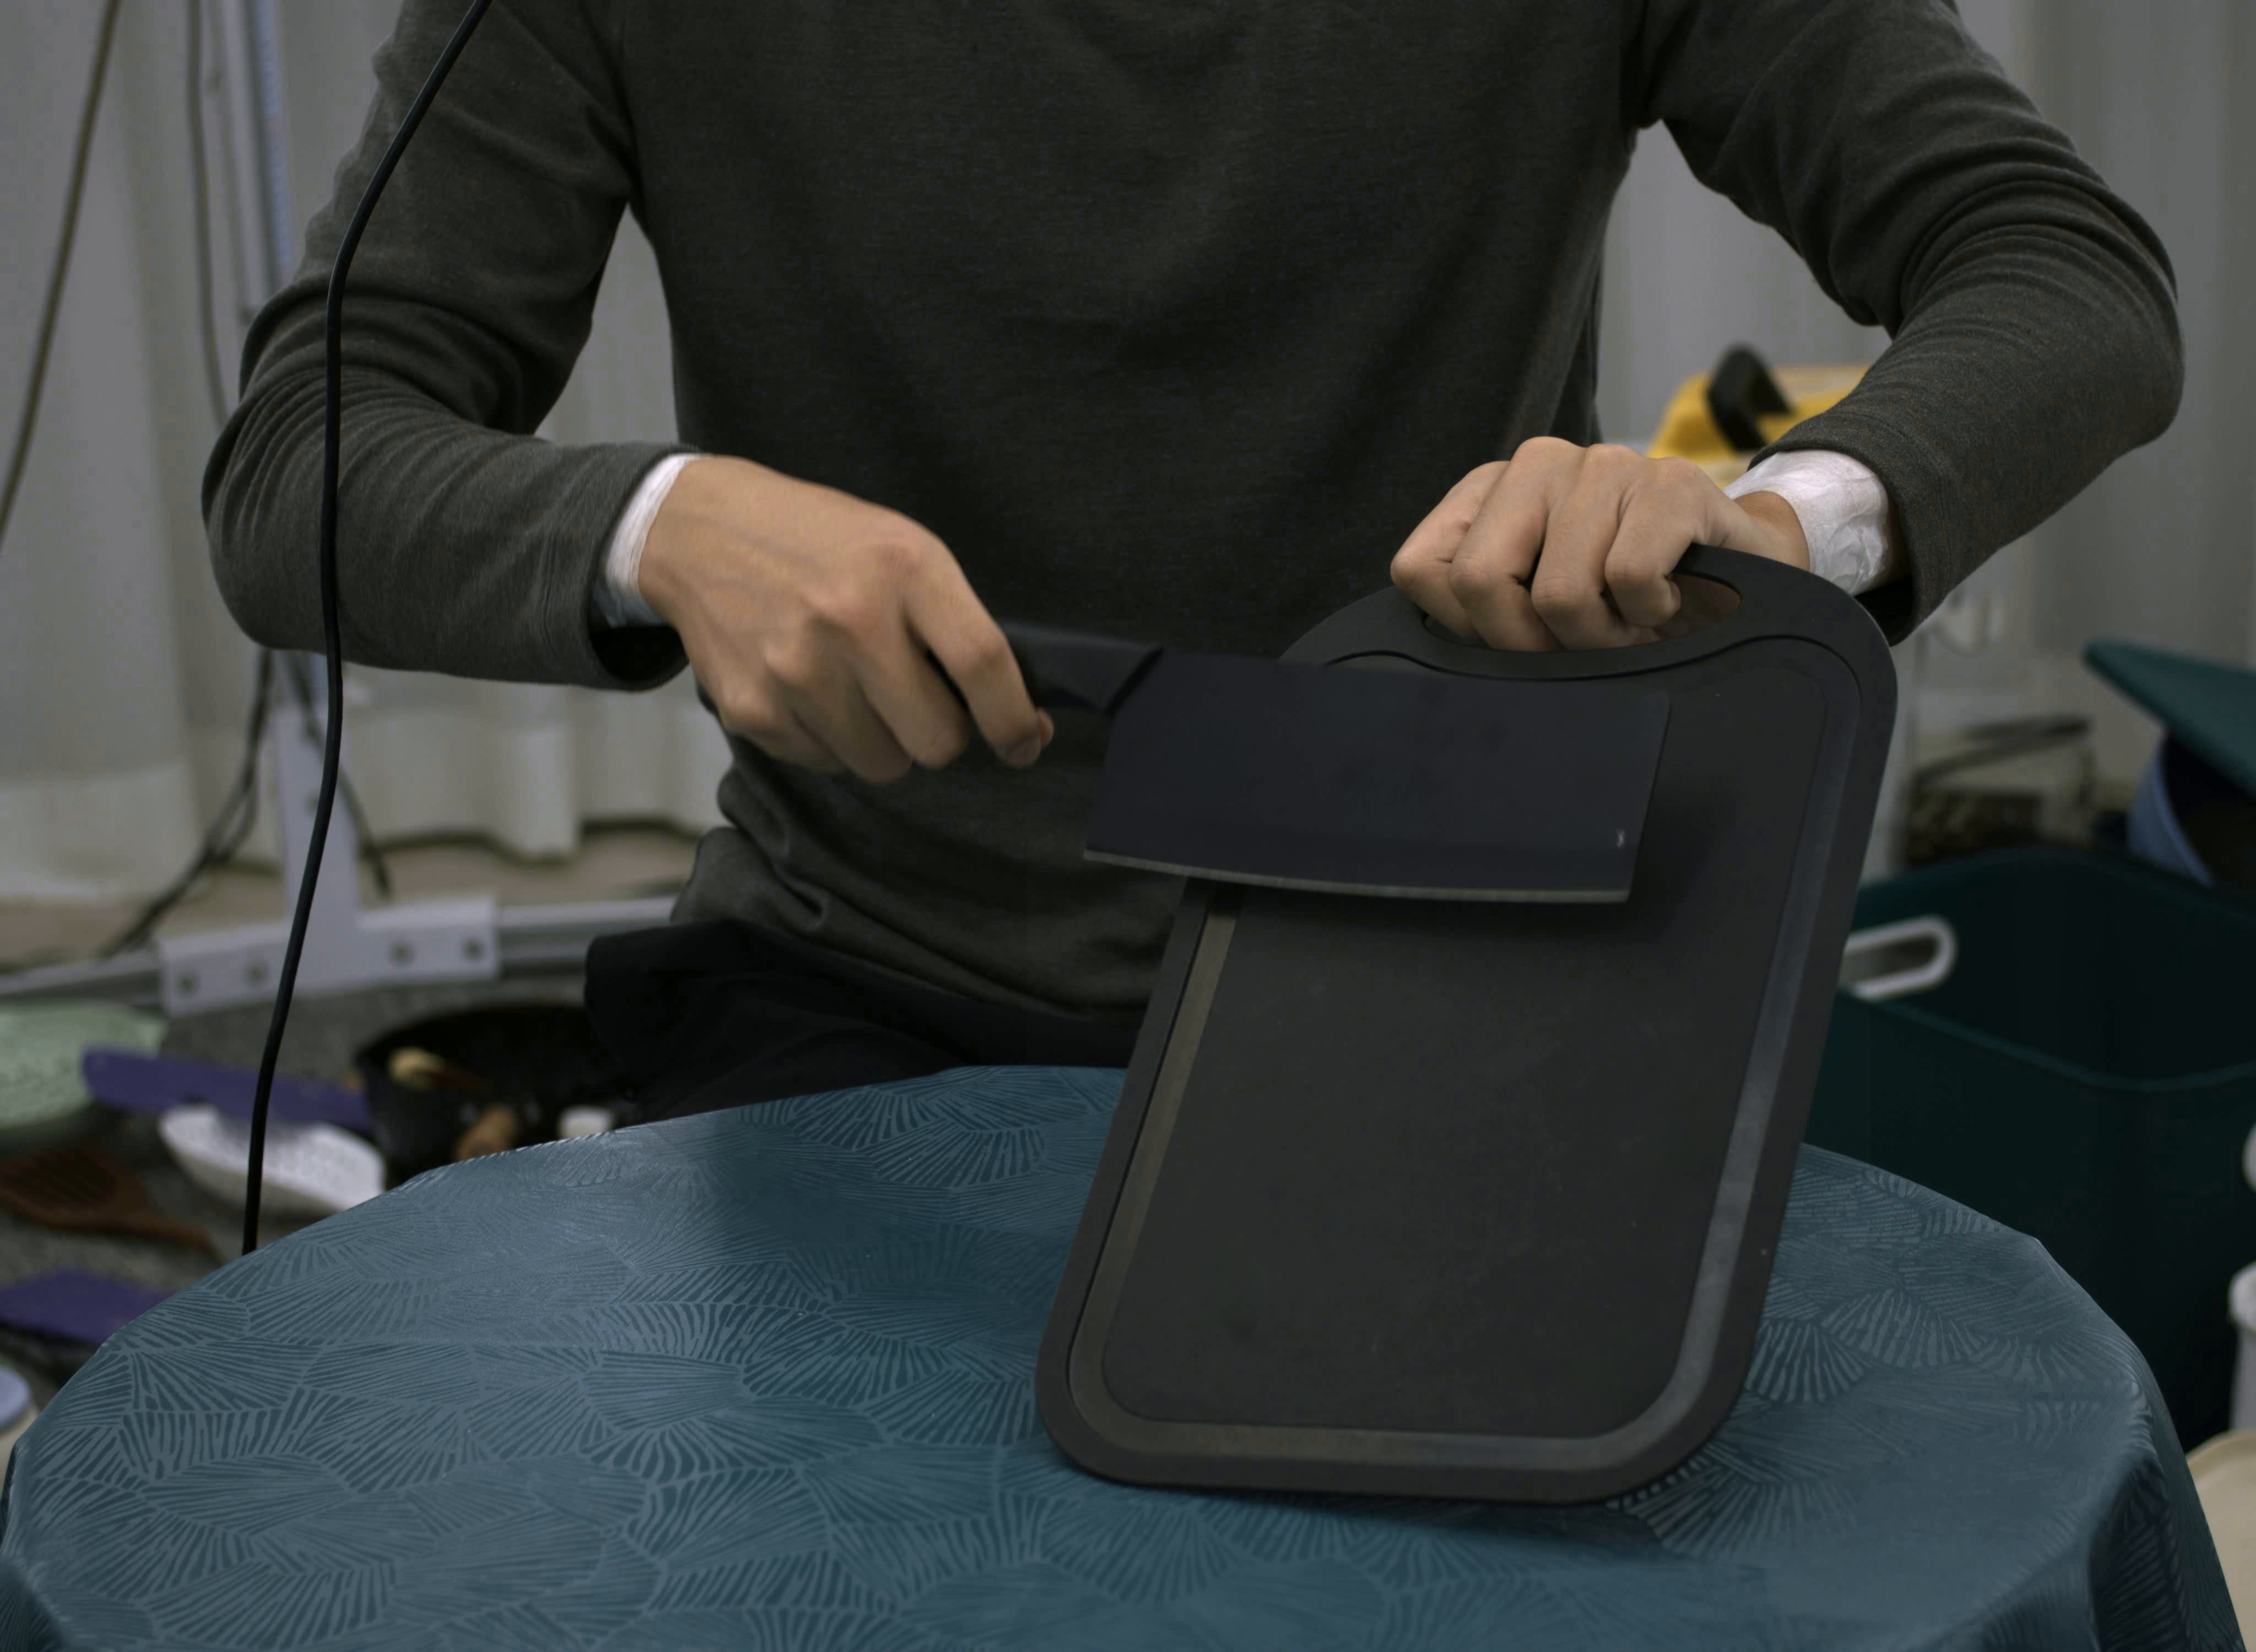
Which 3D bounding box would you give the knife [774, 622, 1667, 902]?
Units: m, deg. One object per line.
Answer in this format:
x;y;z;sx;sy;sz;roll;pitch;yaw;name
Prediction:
0.020;-0.022;1.606;0.303;0.081;0.020;11;-14;34;knife

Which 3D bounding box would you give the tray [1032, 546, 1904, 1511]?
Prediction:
0.098;0.047;1.537;0.211;0.009;0.329;-1;52;27;tray
